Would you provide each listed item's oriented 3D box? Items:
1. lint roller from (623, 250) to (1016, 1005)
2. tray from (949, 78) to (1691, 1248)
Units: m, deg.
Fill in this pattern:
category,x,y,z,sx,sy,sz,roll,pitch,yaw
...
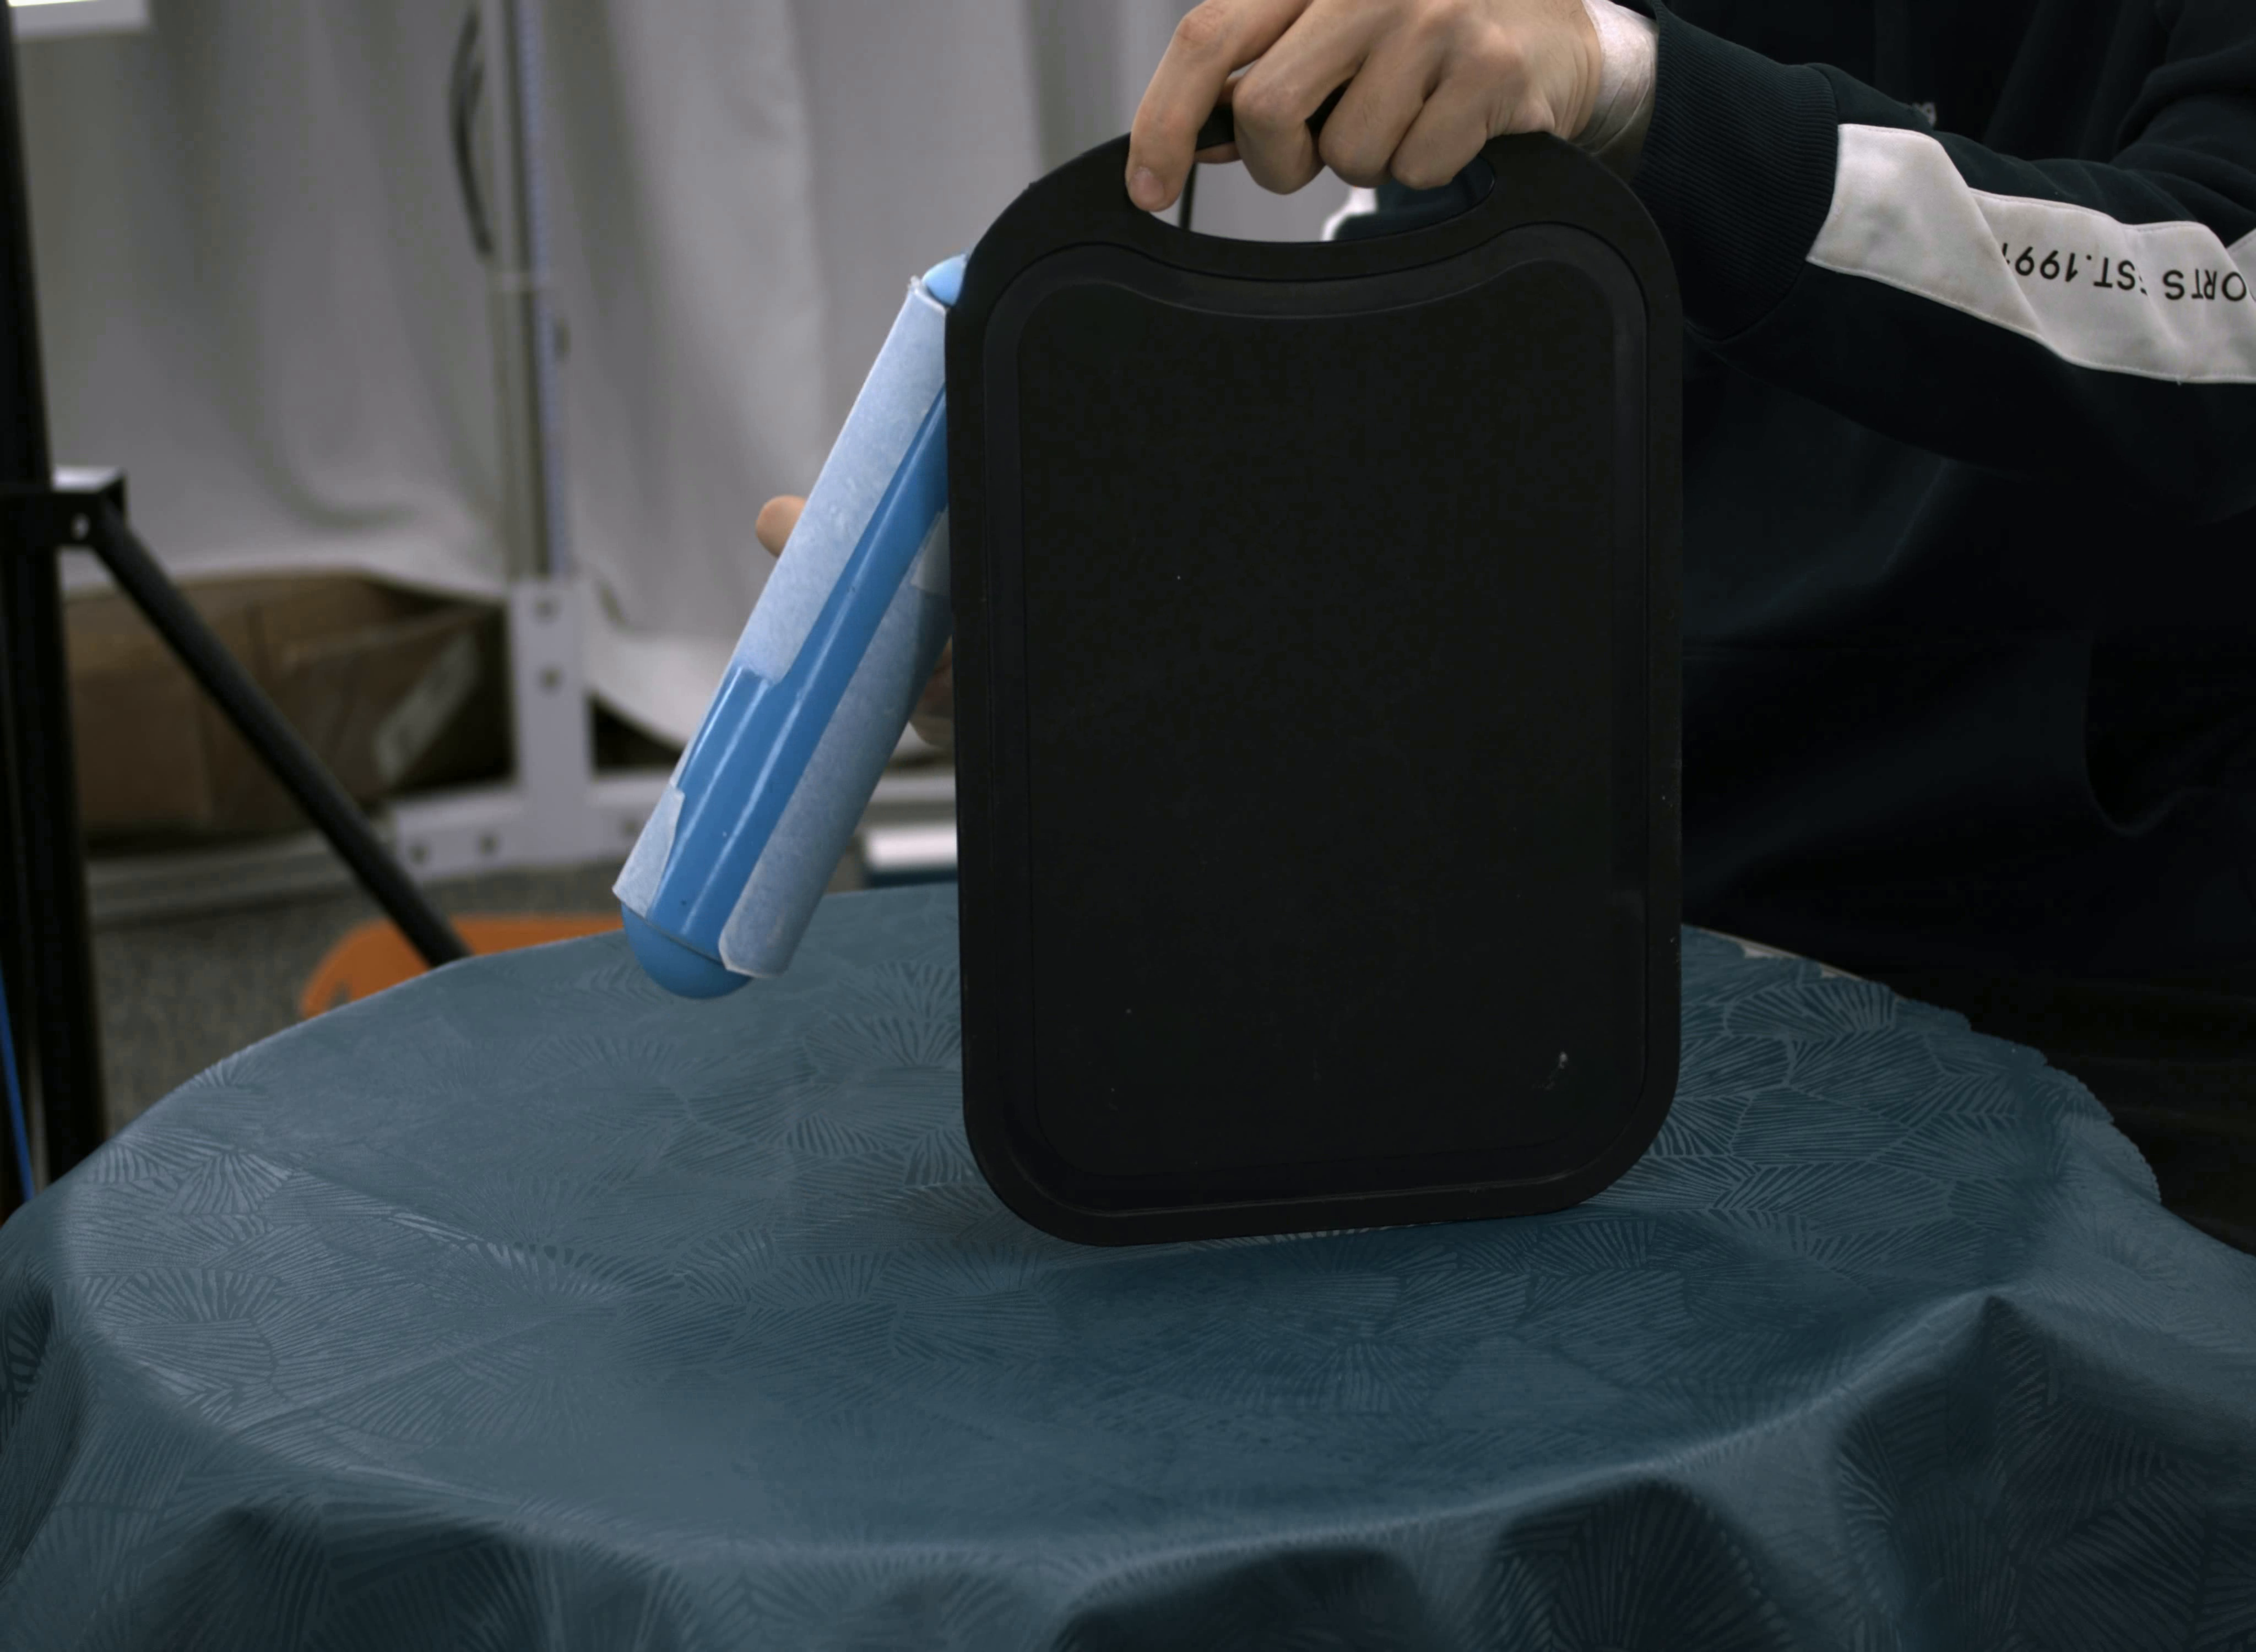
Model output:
category,x,y,z,sx,sy,sz,roll,pitch,yaw
lint roller,-0.066,-0.054,1.555,0.068,0.230,0.178,26,5,12
tray,0.054,-0.042,1.476,0.208,0.326,0.010,-2,12,-9
